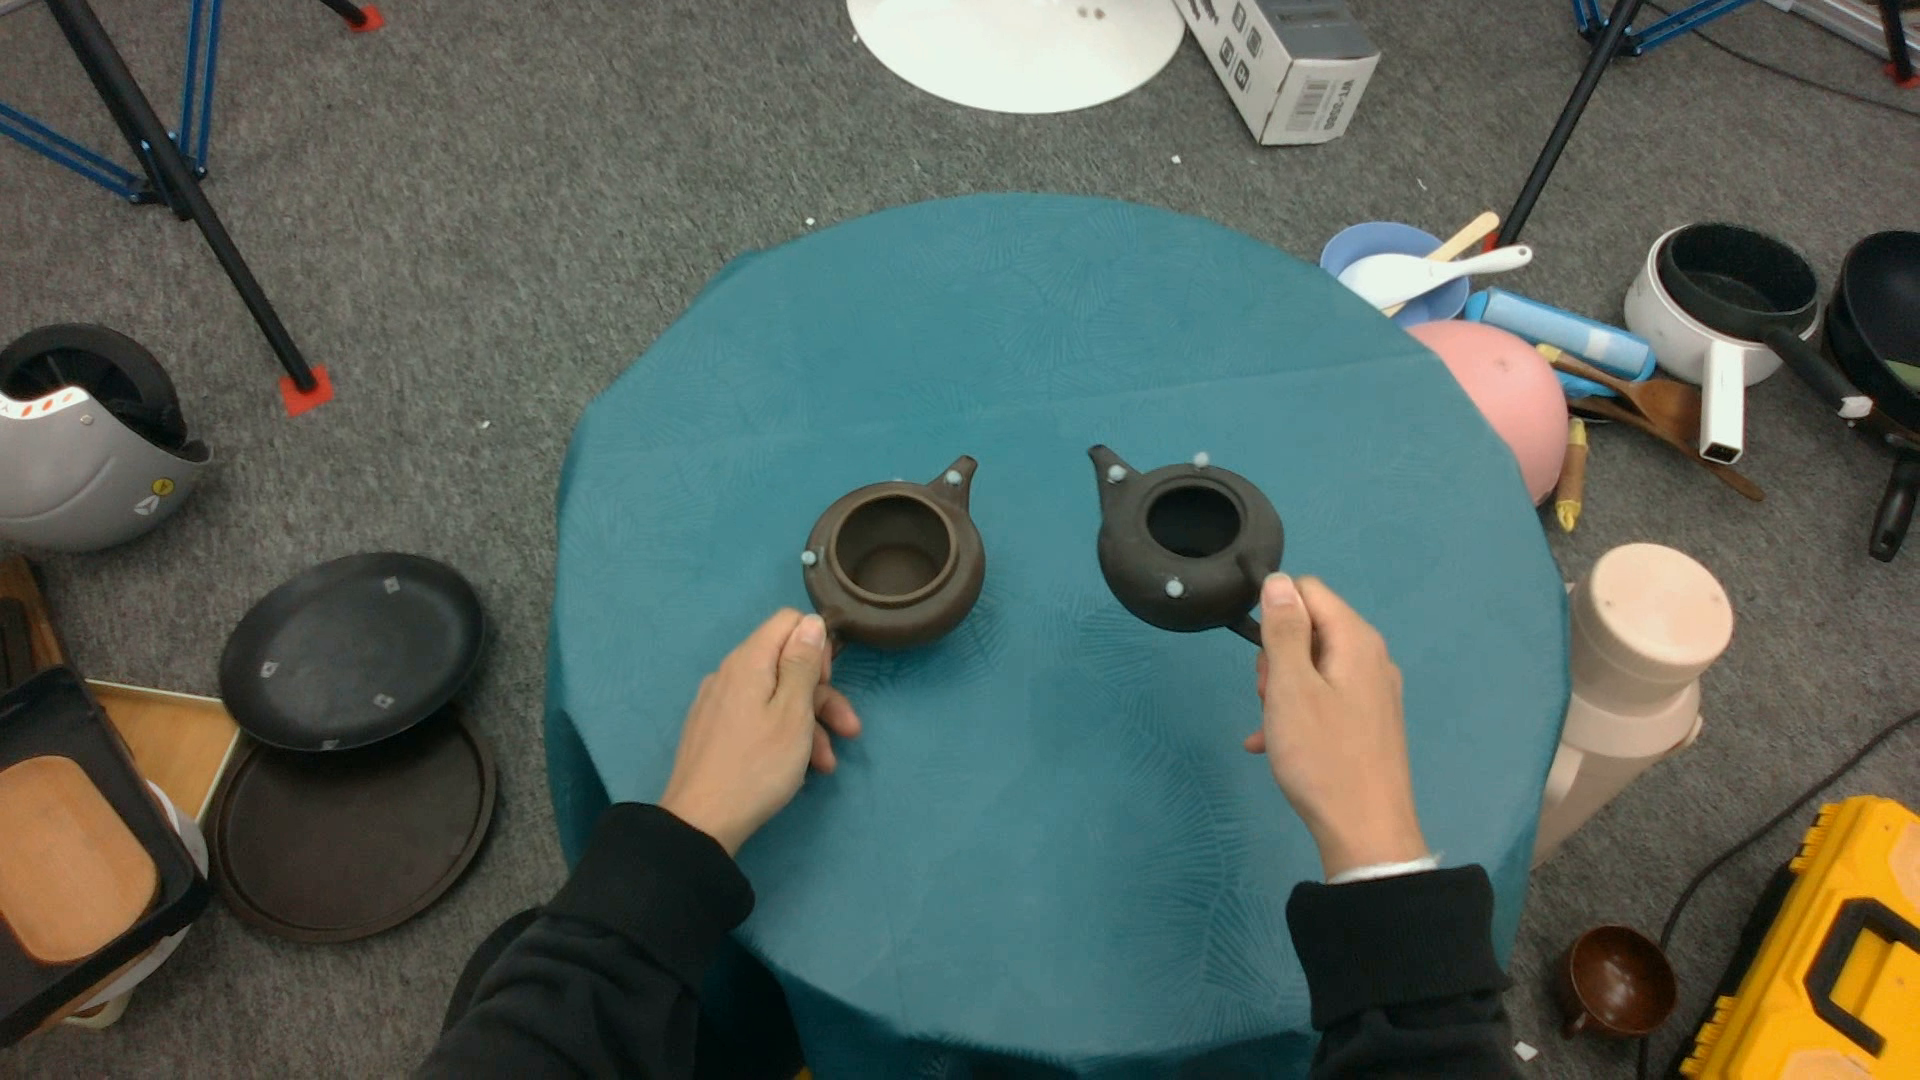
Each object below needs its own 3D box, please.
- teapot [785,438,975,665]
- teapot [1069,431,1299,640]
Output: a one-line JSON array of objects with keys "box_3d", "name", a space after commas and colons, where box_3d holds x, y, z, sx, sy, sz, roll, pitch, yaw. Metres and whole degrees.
[{"box_3d": [-0.045, 0.009, 0.763, 0.102, 0.053, 0.154, 27, 62, 16], "name": "teapot"}, {"box_3d": [0.109, -0.001, 0.687, 0.092, 0.064, 0.154, -35, 55, -20], "name": "teapot"}]
